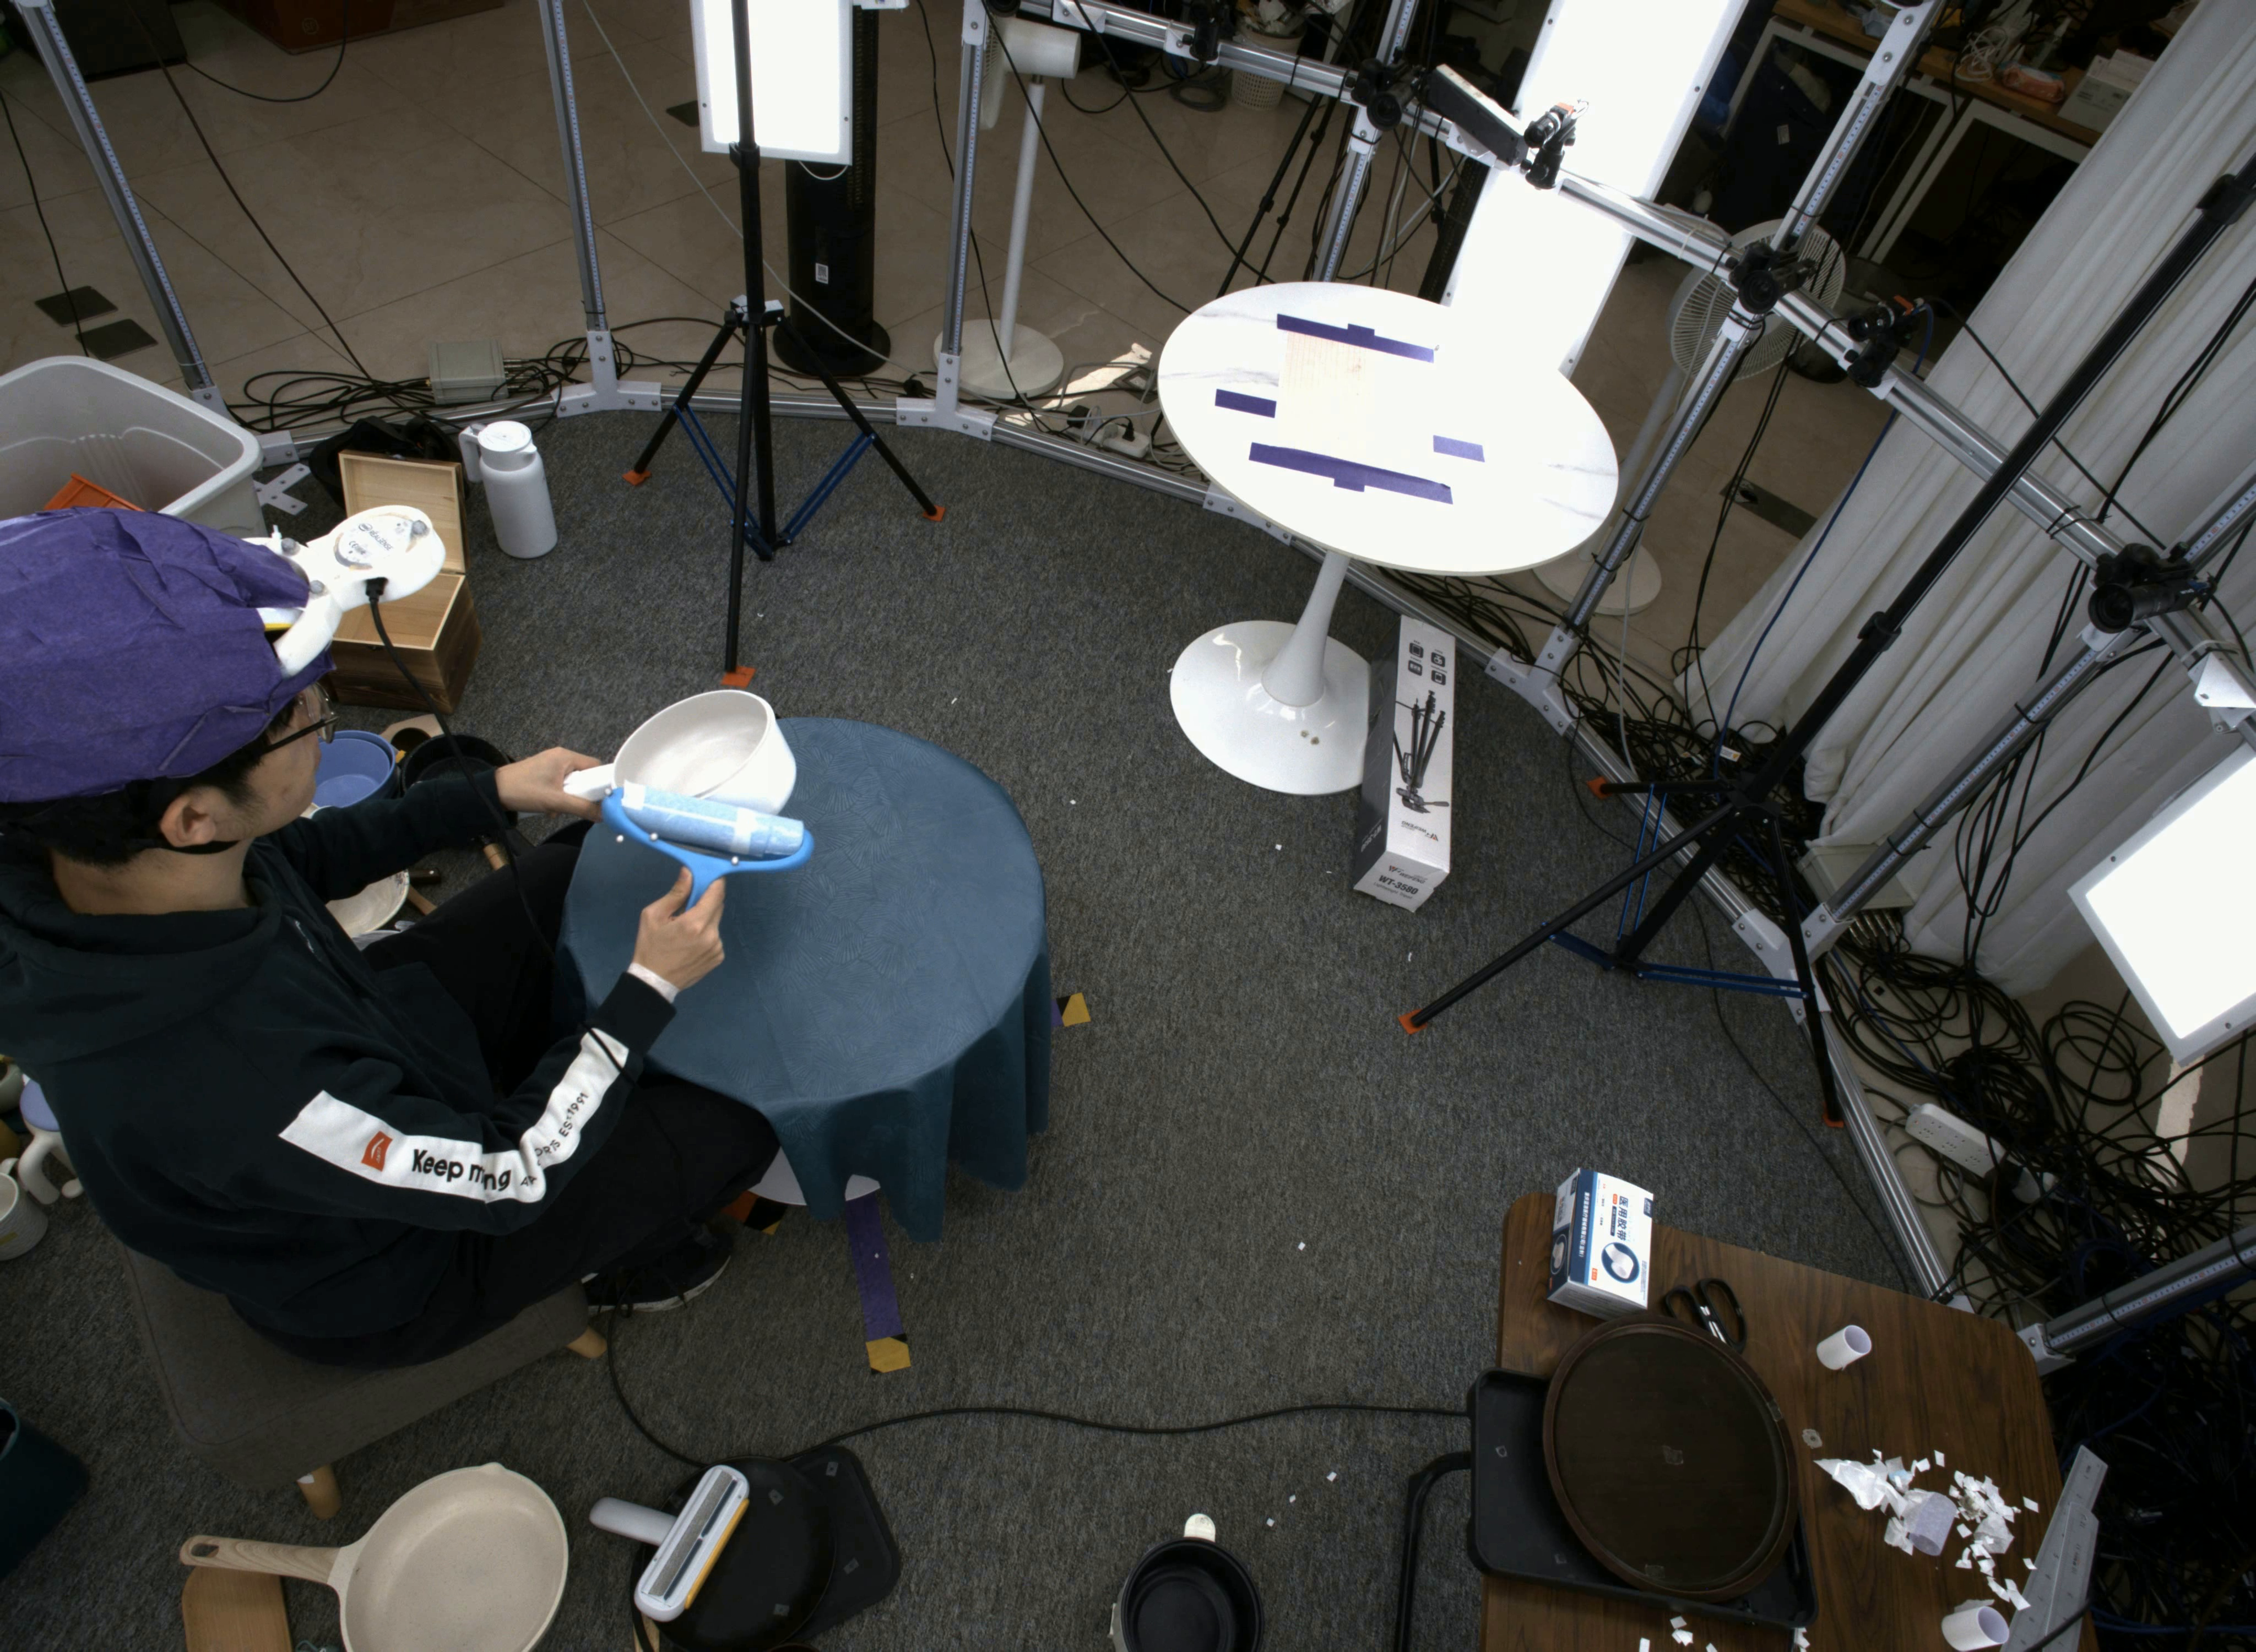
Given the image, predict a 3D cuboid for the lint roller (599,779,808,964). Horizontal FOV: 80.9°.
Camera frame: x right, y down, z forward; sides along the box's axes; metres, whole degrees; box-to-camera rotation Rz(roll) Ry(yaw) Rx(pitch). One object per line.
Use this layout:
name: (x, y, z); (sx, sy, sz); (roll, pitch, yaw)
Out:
lint roller: (-0.461, 0.050, 1.381); (0.233, 0.067, 0.179); (11, 68, -29)

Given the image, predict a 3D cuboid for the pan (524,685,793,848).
pan: (-0.566, -0.044, 1.514); (0.350, 0.106, 0.196); (-14, 44, 5)
